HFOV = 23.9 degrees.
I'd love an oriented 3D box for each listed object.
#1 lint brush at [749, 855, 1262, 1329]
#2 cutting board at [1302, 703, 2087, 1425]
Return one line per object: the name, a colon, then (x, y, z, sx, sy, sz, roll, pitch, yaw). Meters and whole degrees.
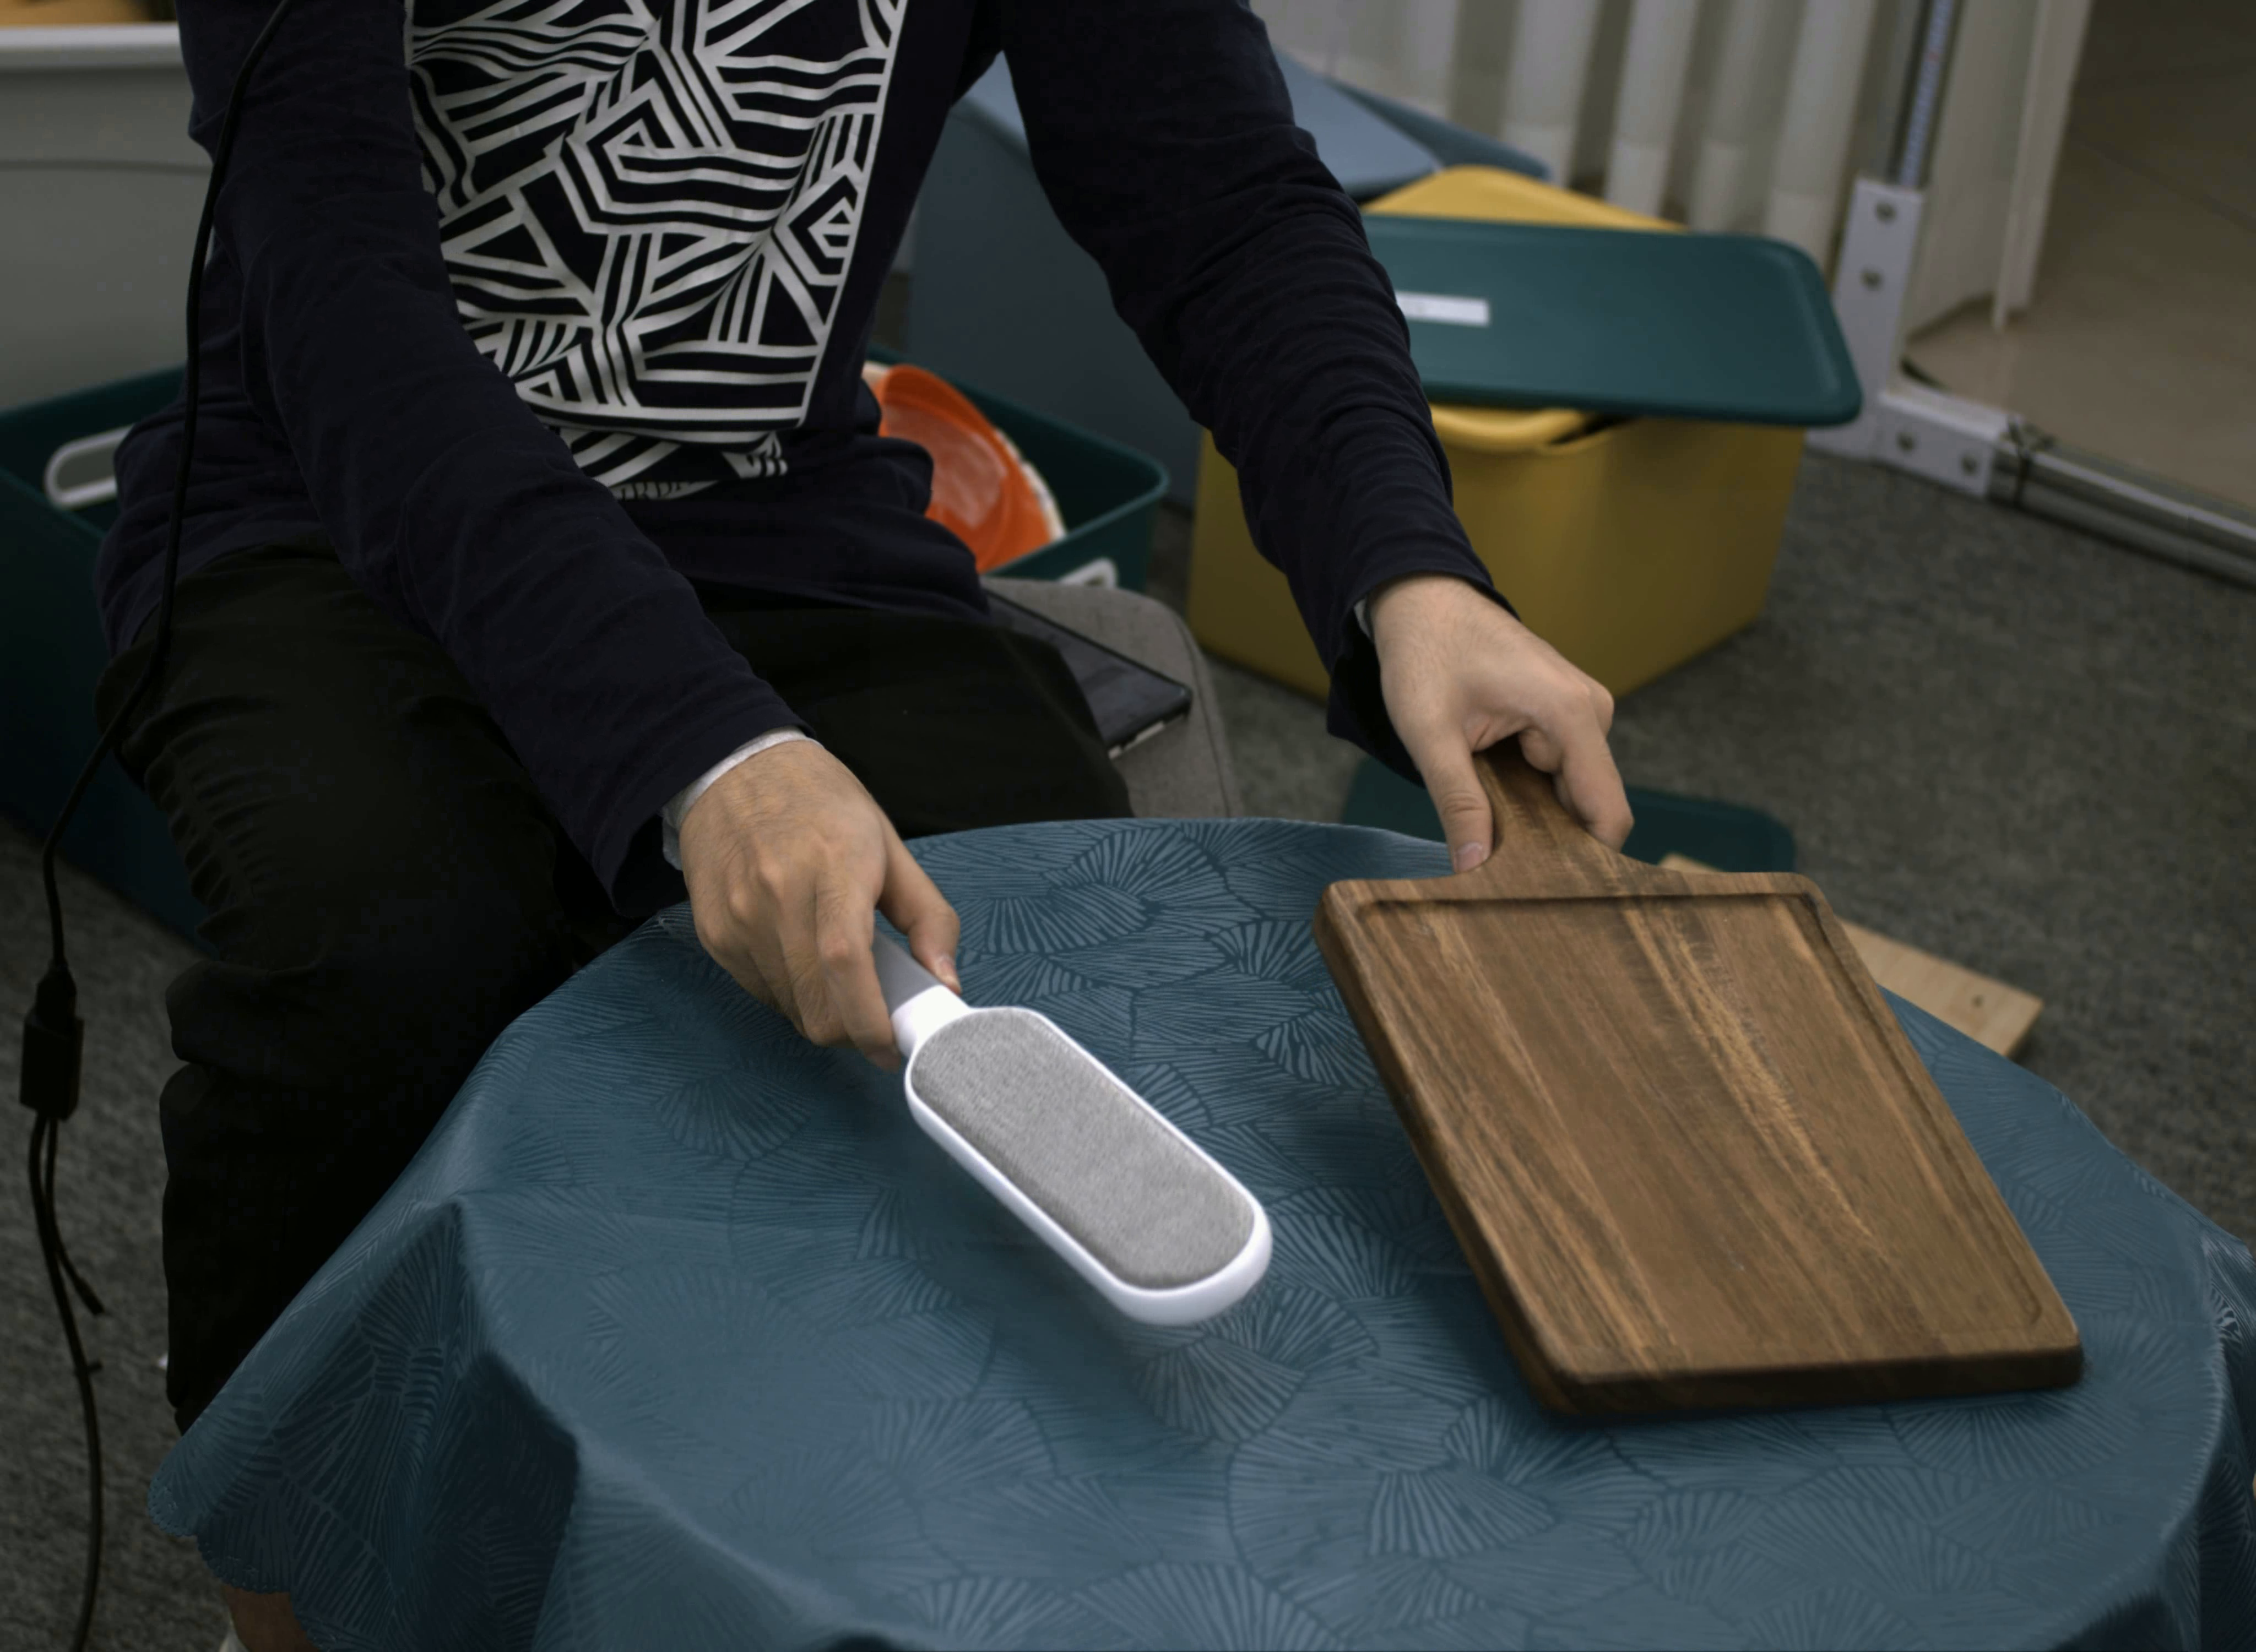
lint brush: (-0.048, 0.081, 1.777, 0.060, 0.021, 0.311, -35, 39, -13)
cutting board: (0.175, 0.072, 1.846, 0.200, 0.023, 0.355, -2, 39, -20)
